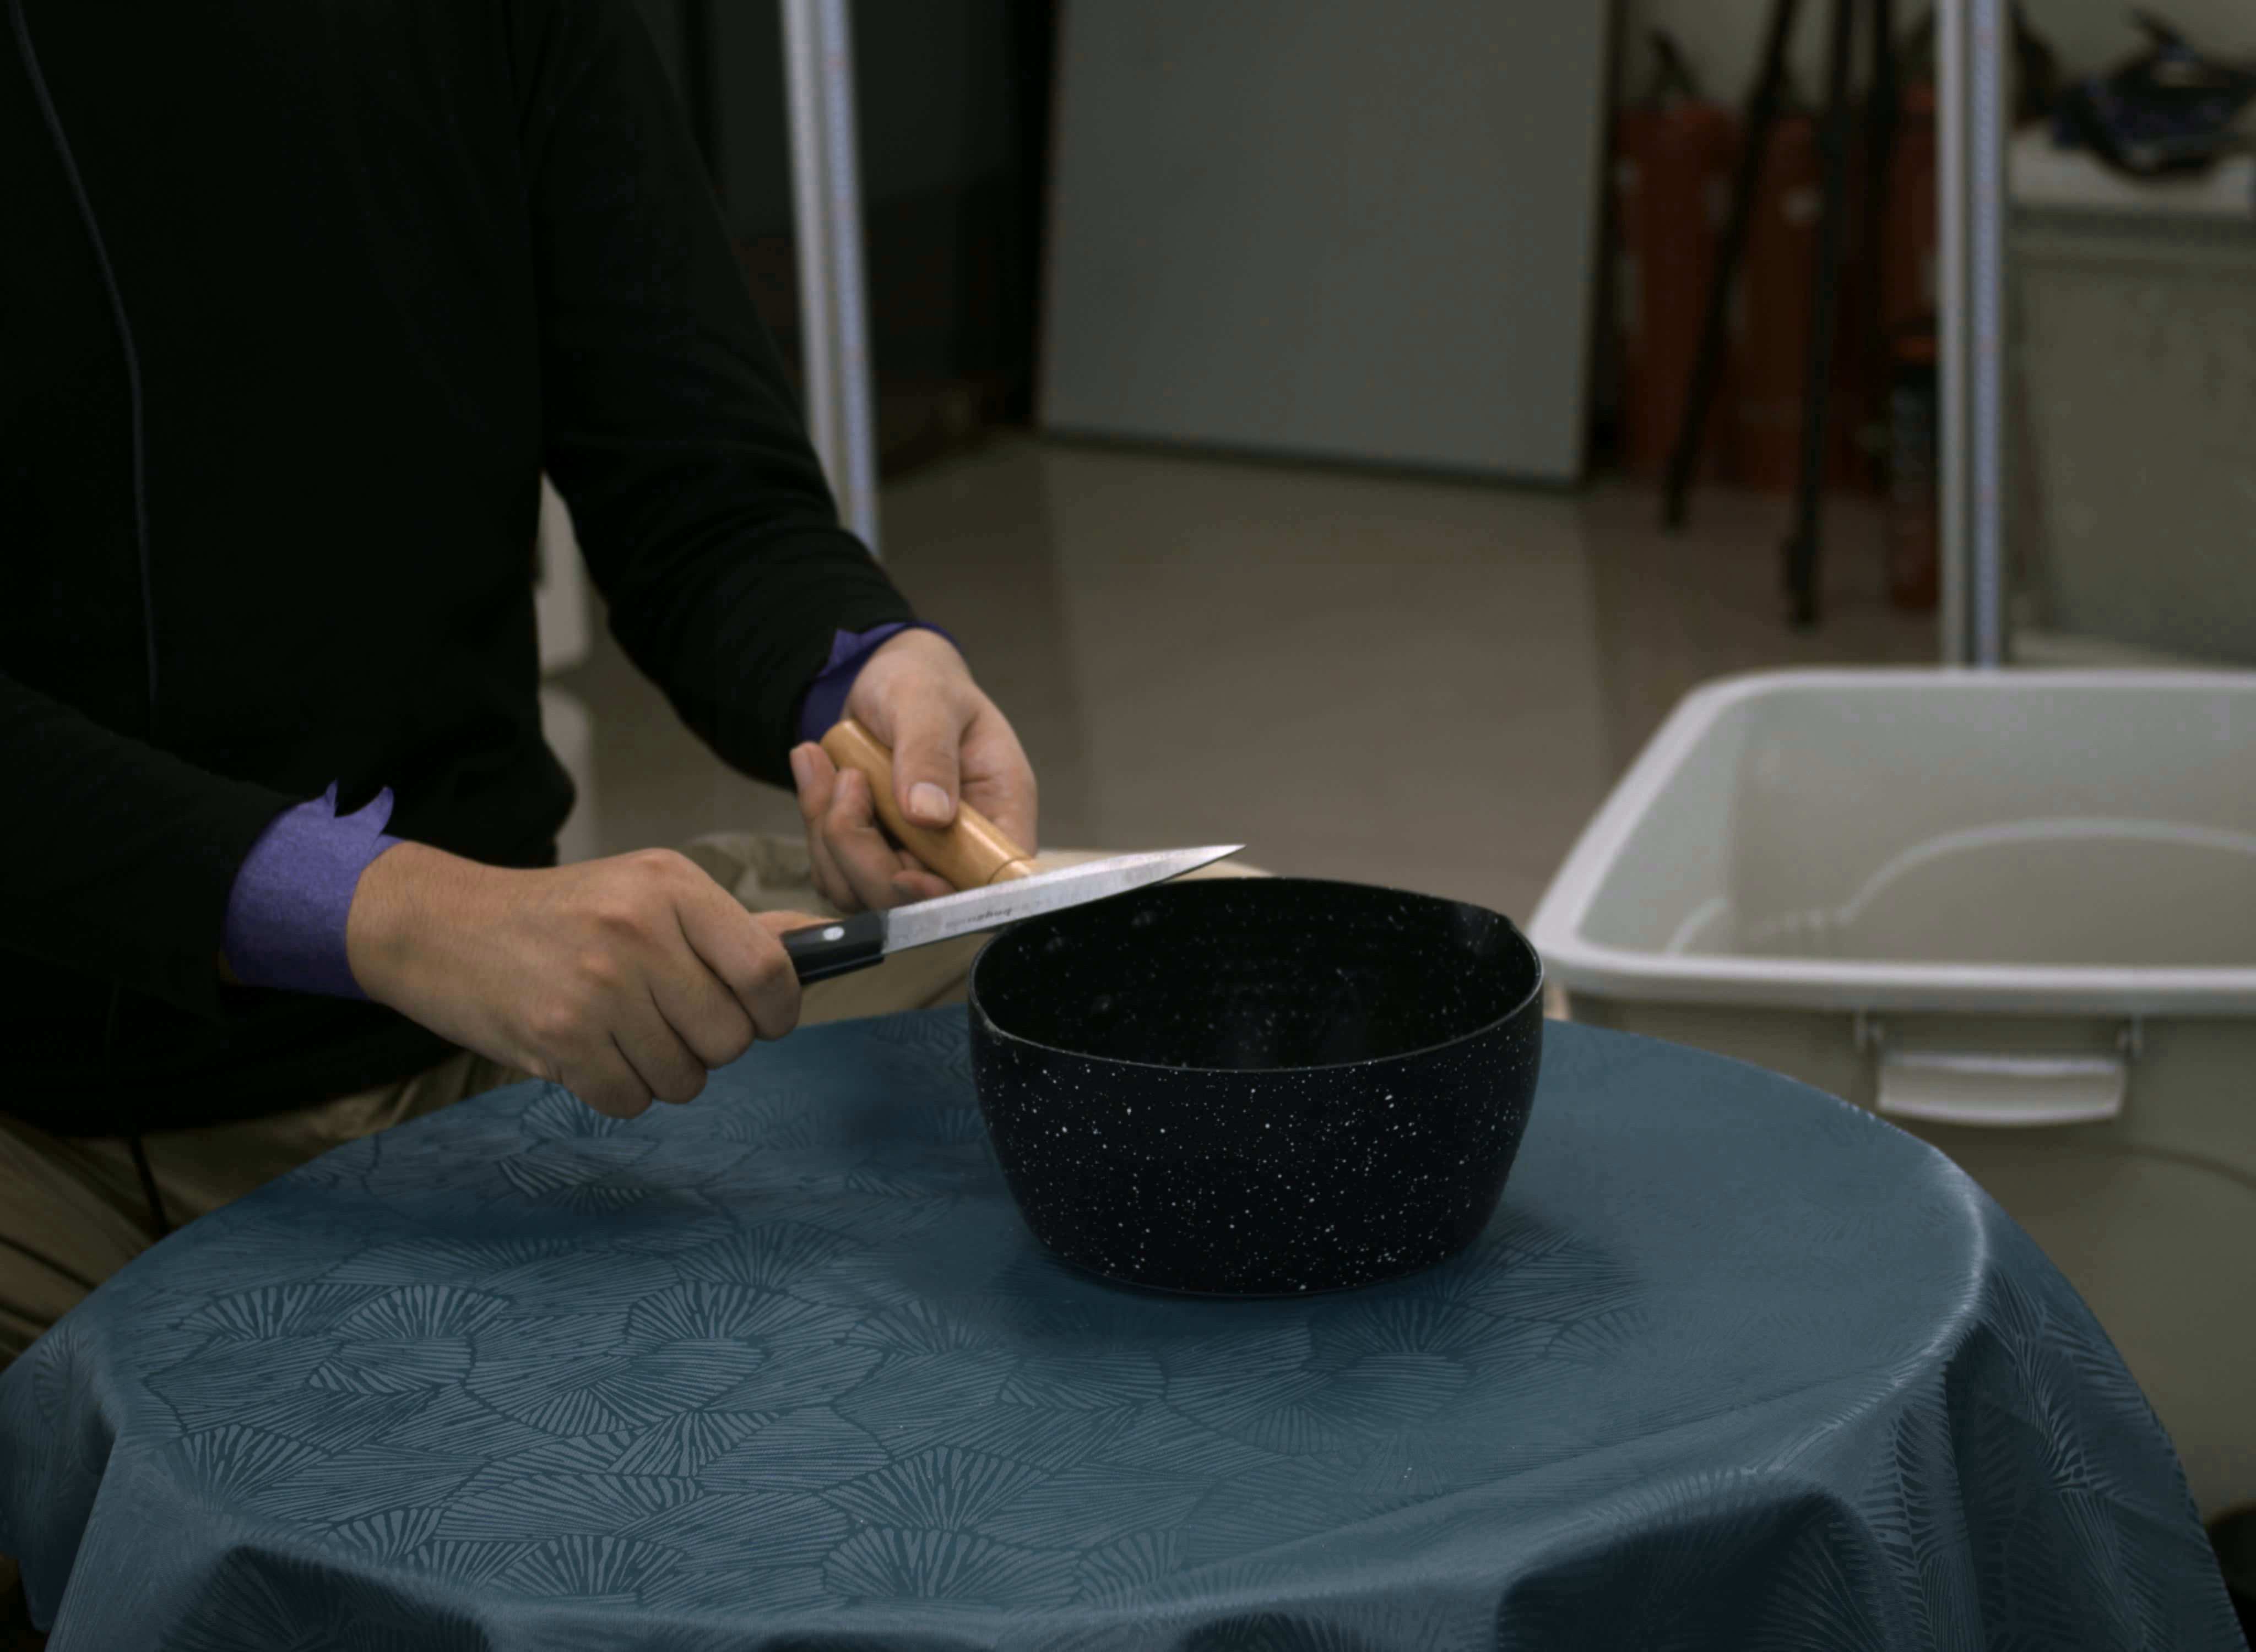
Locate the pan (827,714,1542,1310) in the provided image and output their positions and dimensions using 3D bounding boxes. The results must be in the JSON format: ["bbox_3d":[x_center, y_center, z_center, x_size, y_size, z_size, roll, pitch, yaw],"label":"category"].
[{"bbox_3d":[-0.005,0.055,1.775,0.203,0.109,0.346,-14,22,-32],"label":"pan"}]

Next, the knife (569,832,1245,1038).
[{"bbox_3d":[-0.073,0.034,1.768,0.237,0.016,0.024,-15,37,13],"label":"knife"}]
